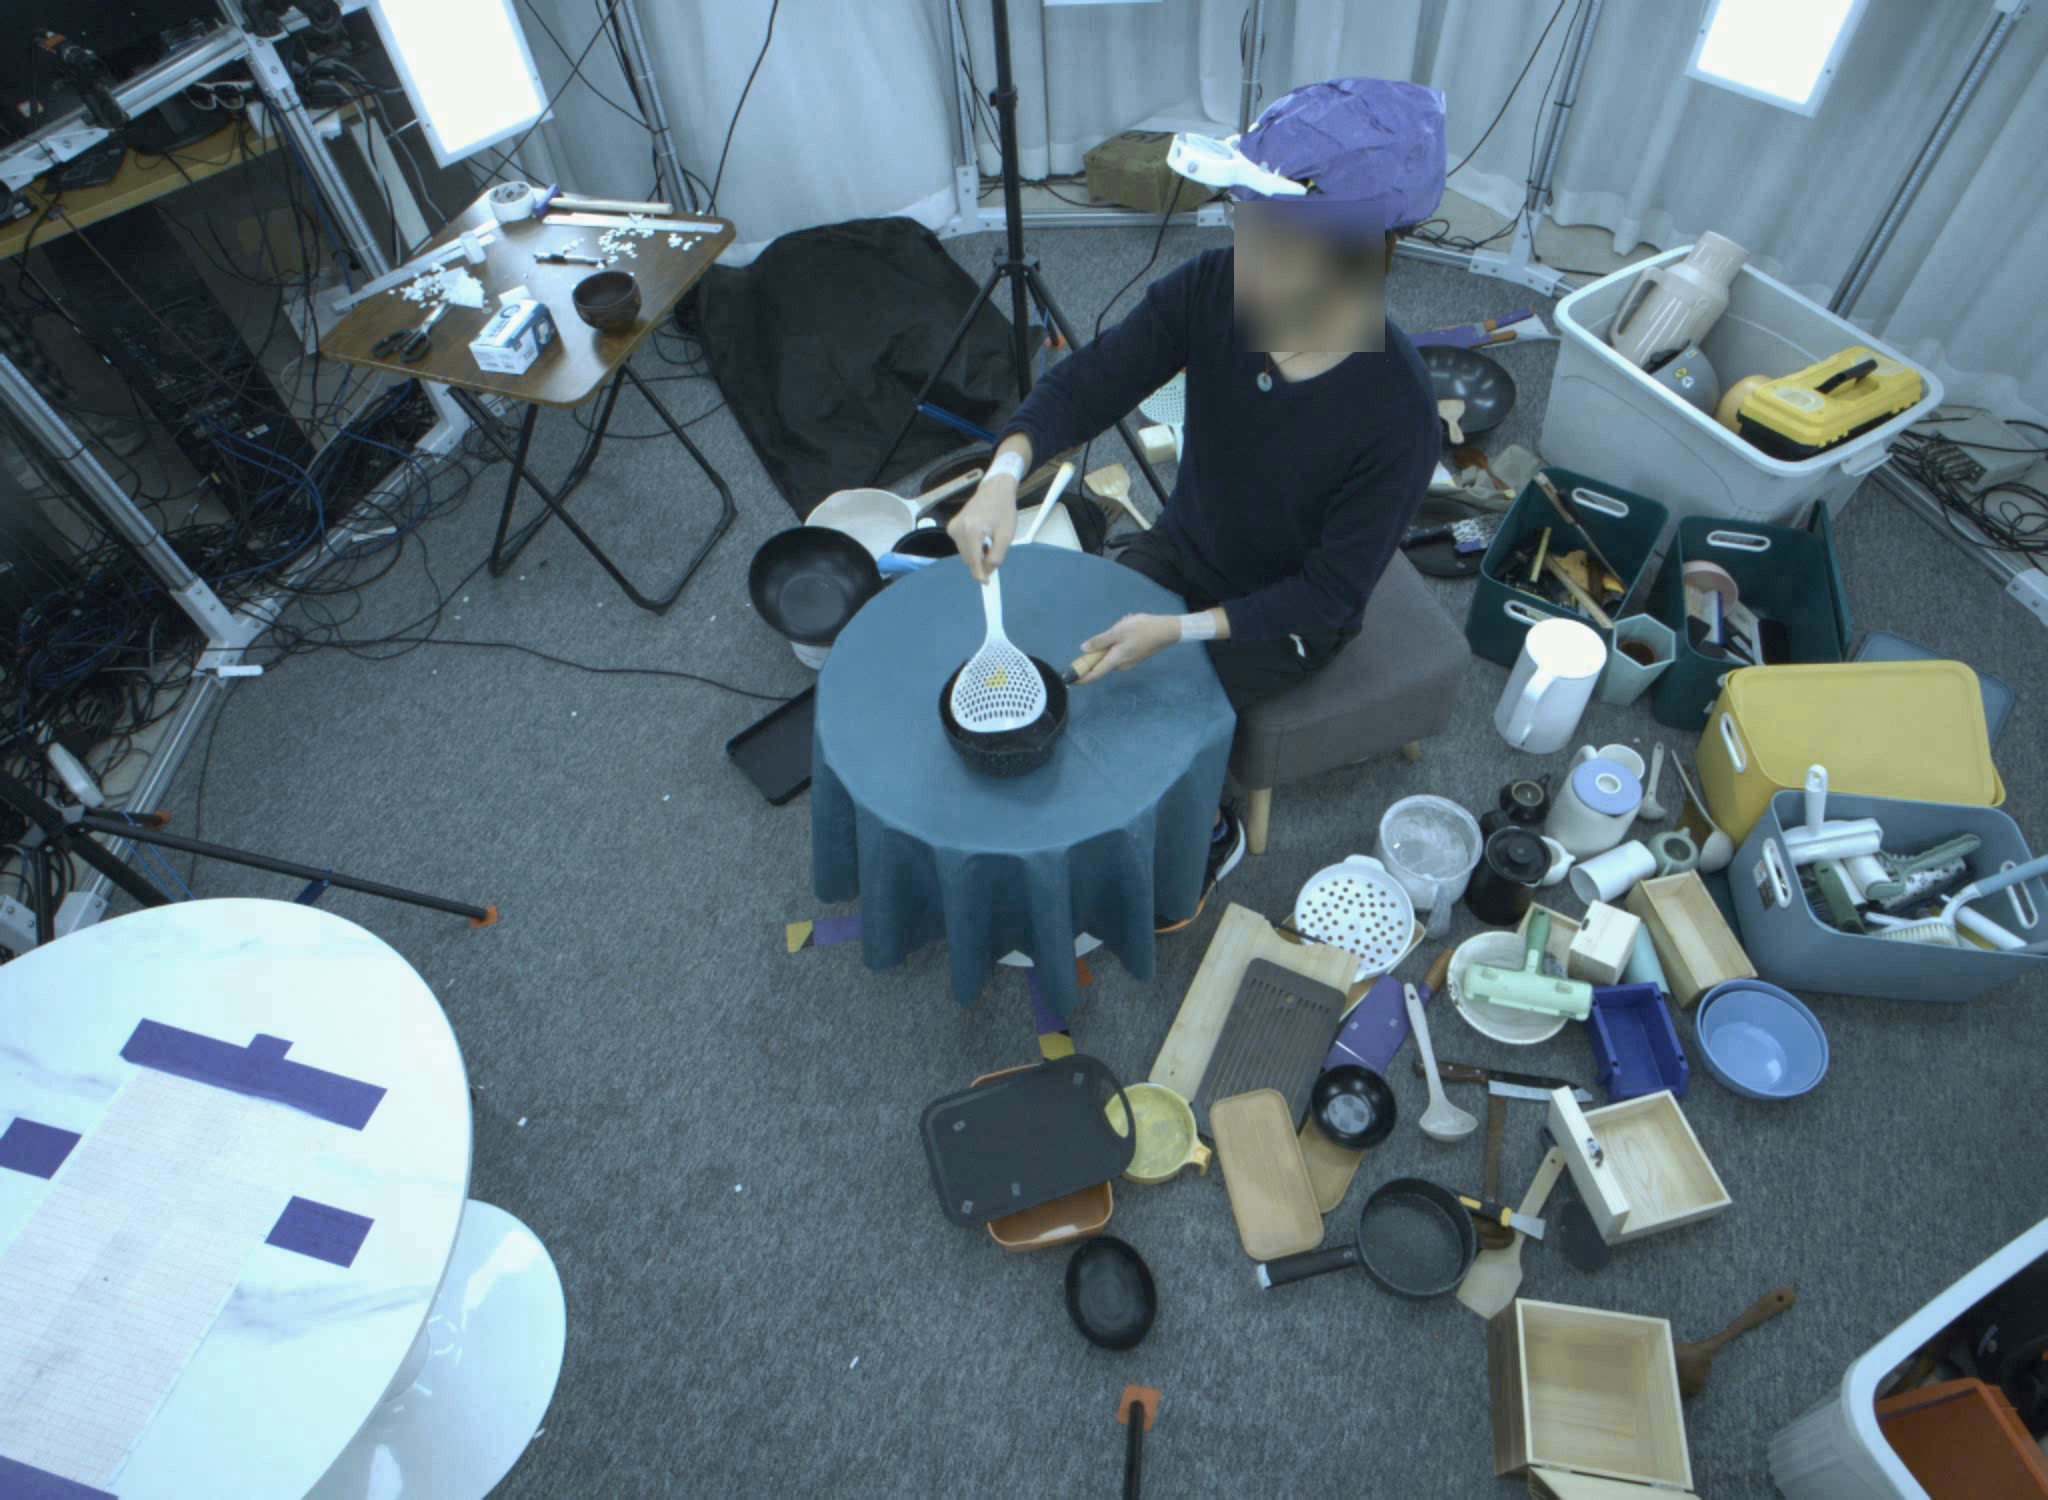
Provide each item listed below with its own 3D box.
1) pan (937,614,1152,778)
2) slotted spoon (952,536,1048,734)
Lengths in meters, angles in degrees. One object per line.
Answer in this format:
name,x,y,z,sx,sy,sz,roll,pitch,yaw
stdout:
pan,0.038,-0.088,1.782,0.345,0.109,0.203,-30,57,-16
slotted spoon,-0.042,-0.146,1.655,0.137,0.352,0.049,-9,54,-4
